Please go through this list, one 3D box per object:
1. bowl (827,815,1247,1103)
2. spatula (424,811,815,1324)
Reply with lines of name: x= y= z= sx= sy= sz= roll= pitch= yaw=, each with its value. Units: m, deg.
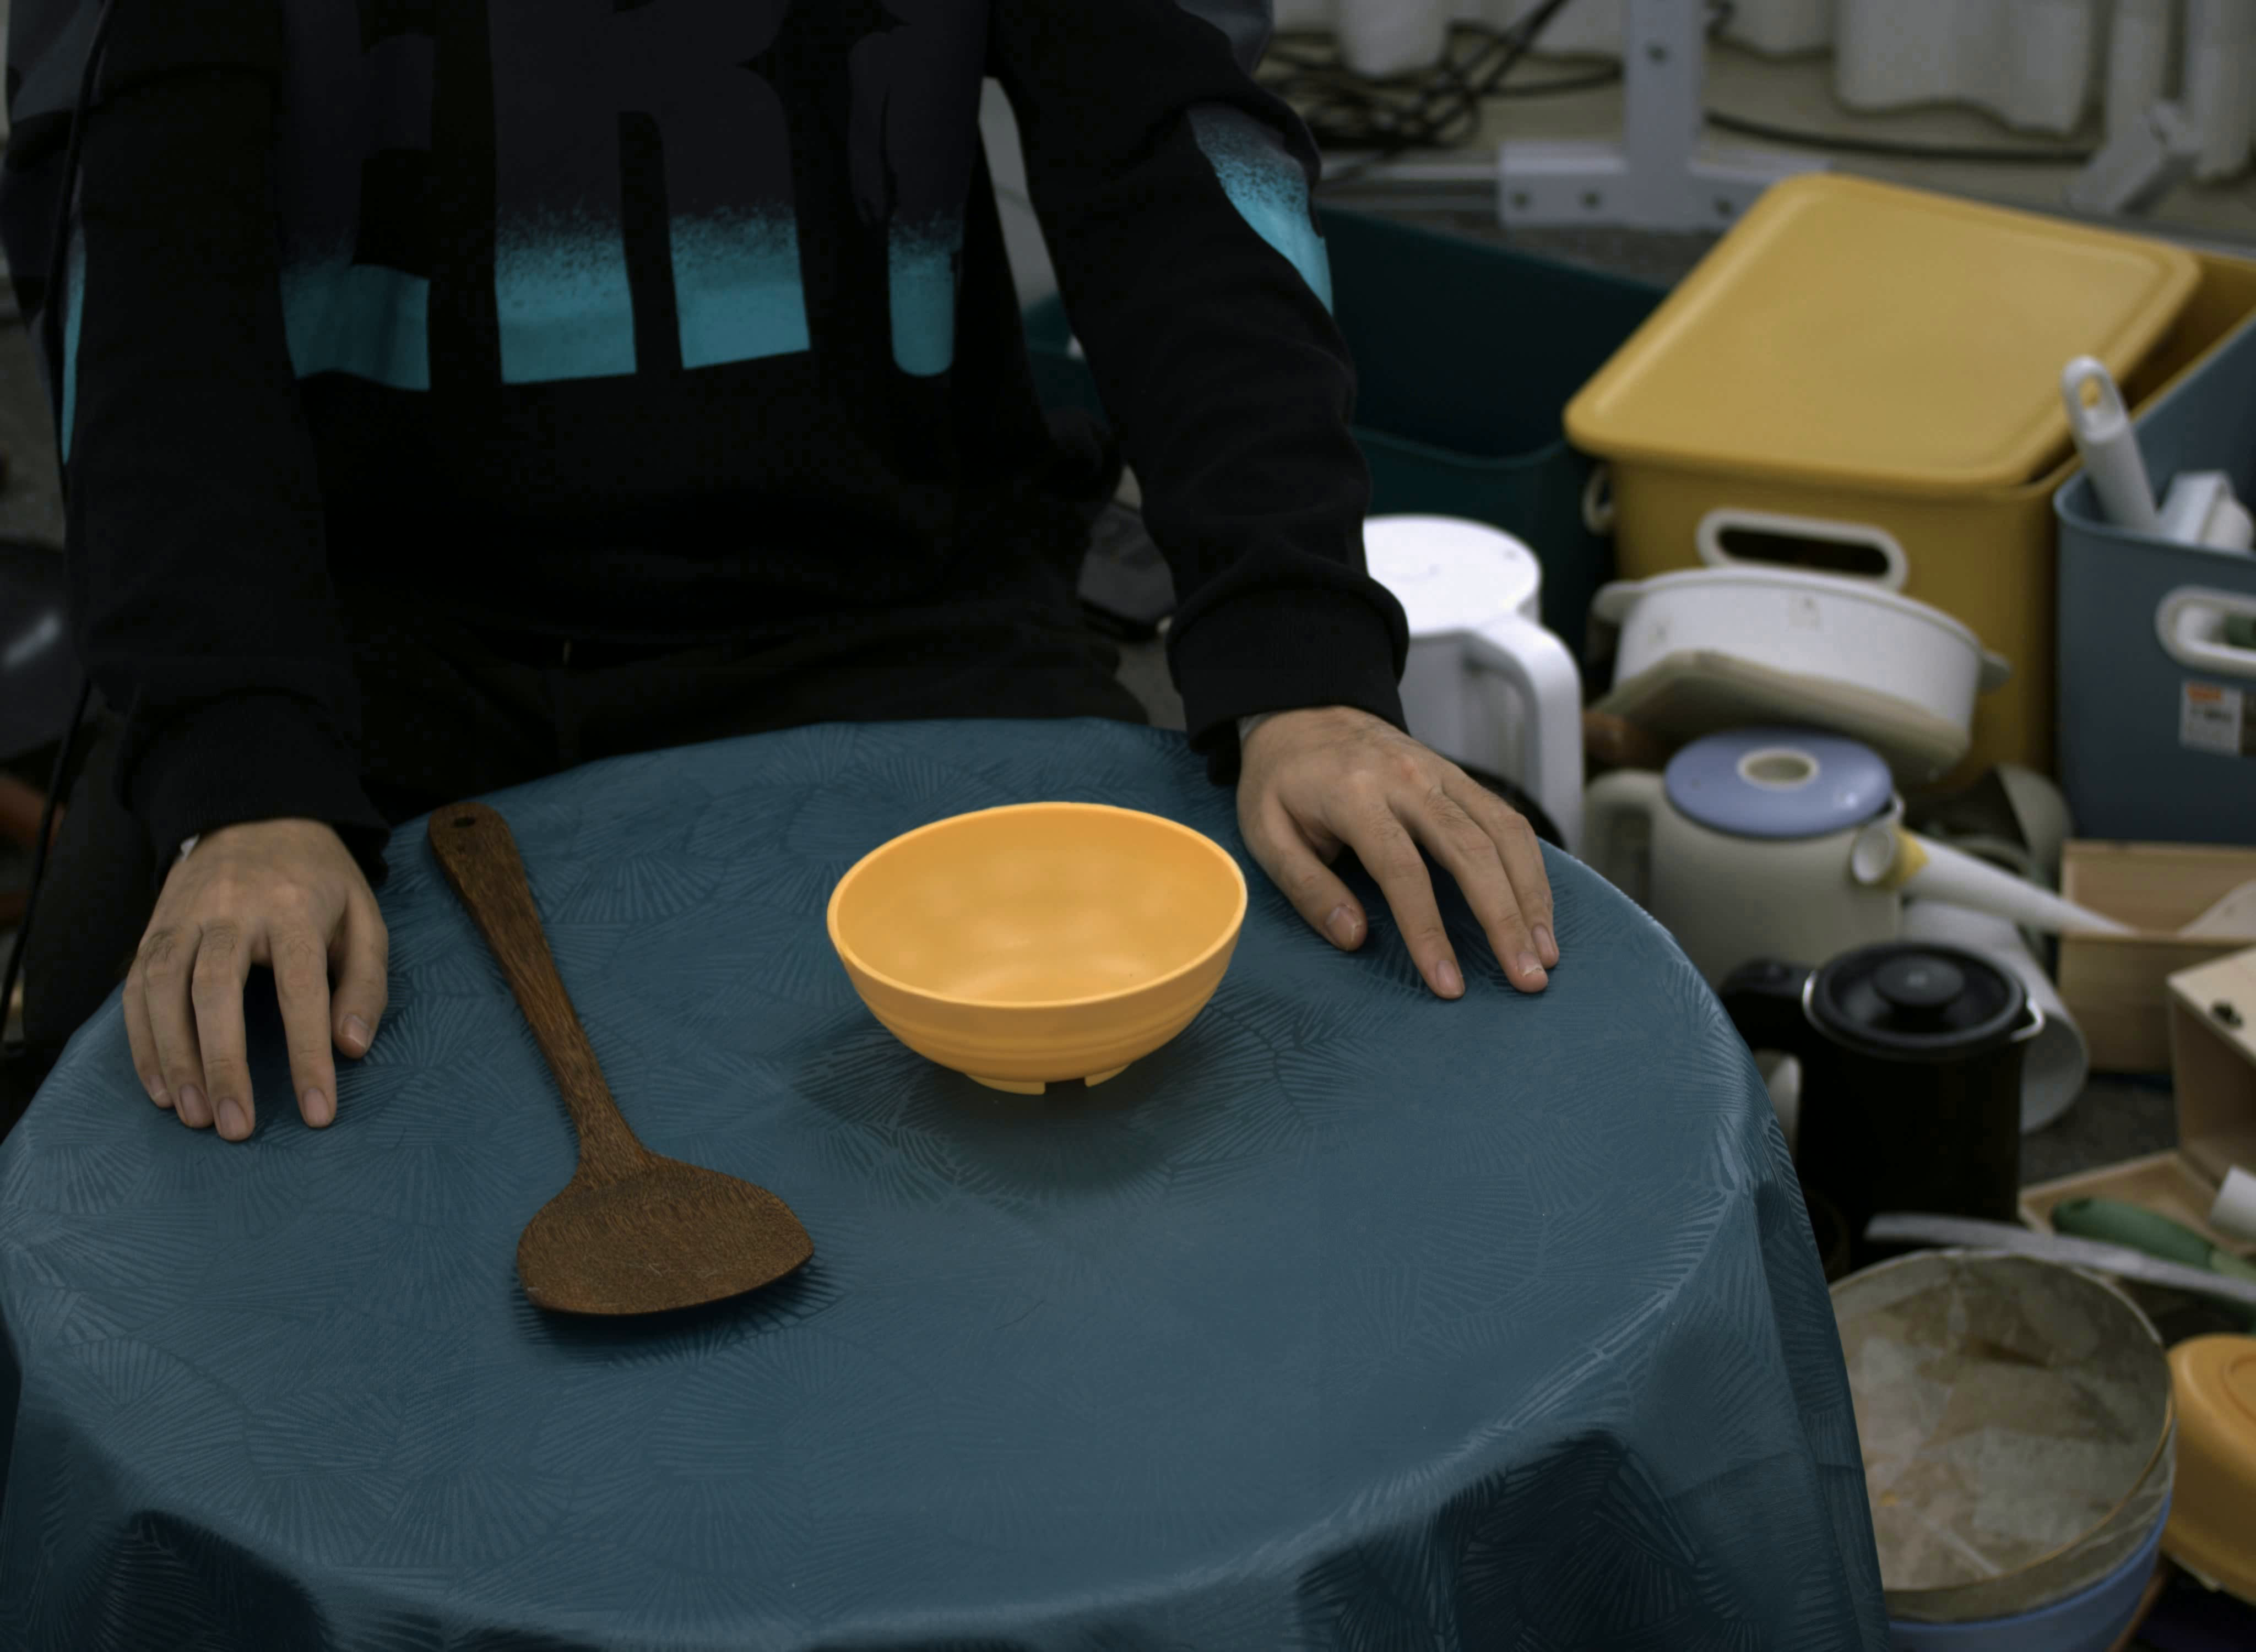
bowl: x=-0.031 y=0.054 z=1.936 sx=0.144 sy=0.059 sz=0.147 roll=-1 pitch=25 yaw=1
spatula: x=-0.197 y=0.076 z=1.955 sx=0.096 sy=0.015 sz=0.389 roll=-10 pitch=28 yaw=-14
